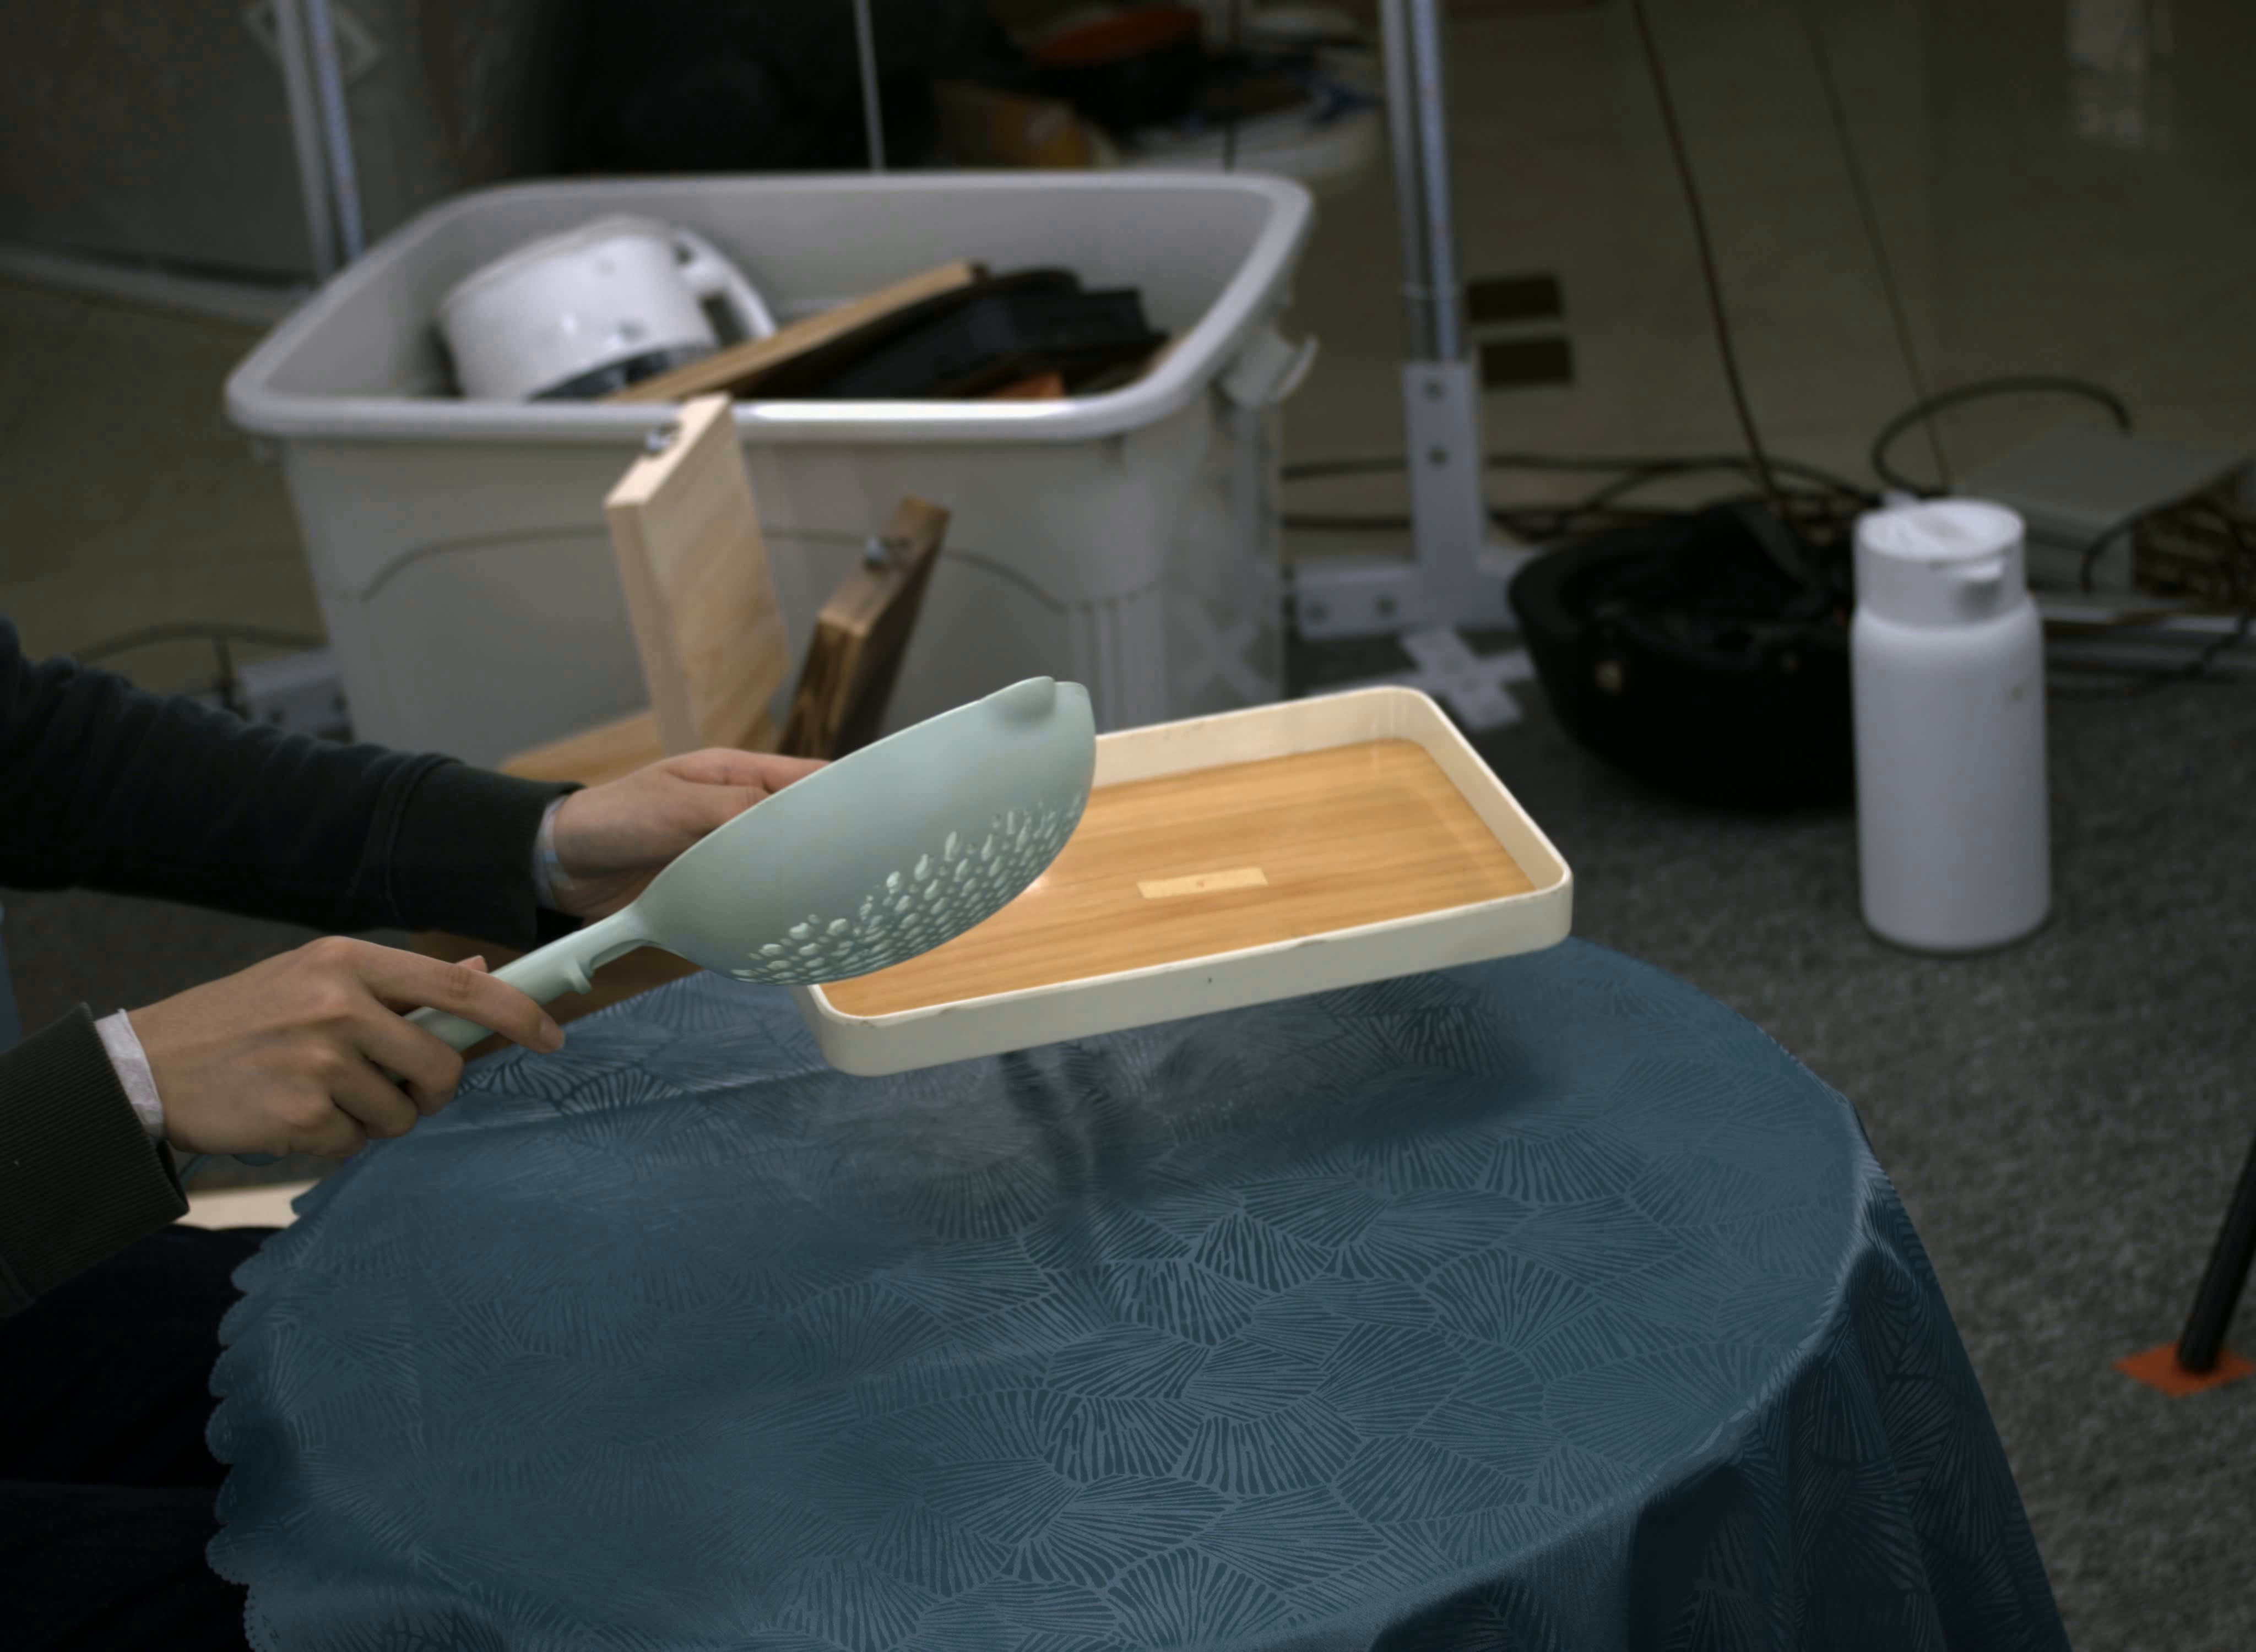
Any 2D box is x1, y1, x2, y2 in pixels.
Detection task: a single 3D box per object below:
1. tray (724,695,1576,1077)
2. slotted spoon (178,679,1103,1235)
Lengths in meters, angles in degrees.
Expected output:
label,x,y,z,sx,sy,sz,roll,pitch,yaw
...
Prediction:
label,x,y,z,sx,sy,sz,roll,pitch,yaw
tray,0.006,0.020,2.210,0.299,0.028,0.189,-9,30,-14
slotted spoon,-0.169,0.046,1.955,0.358,0.075,0.170,-19,-9,-2
